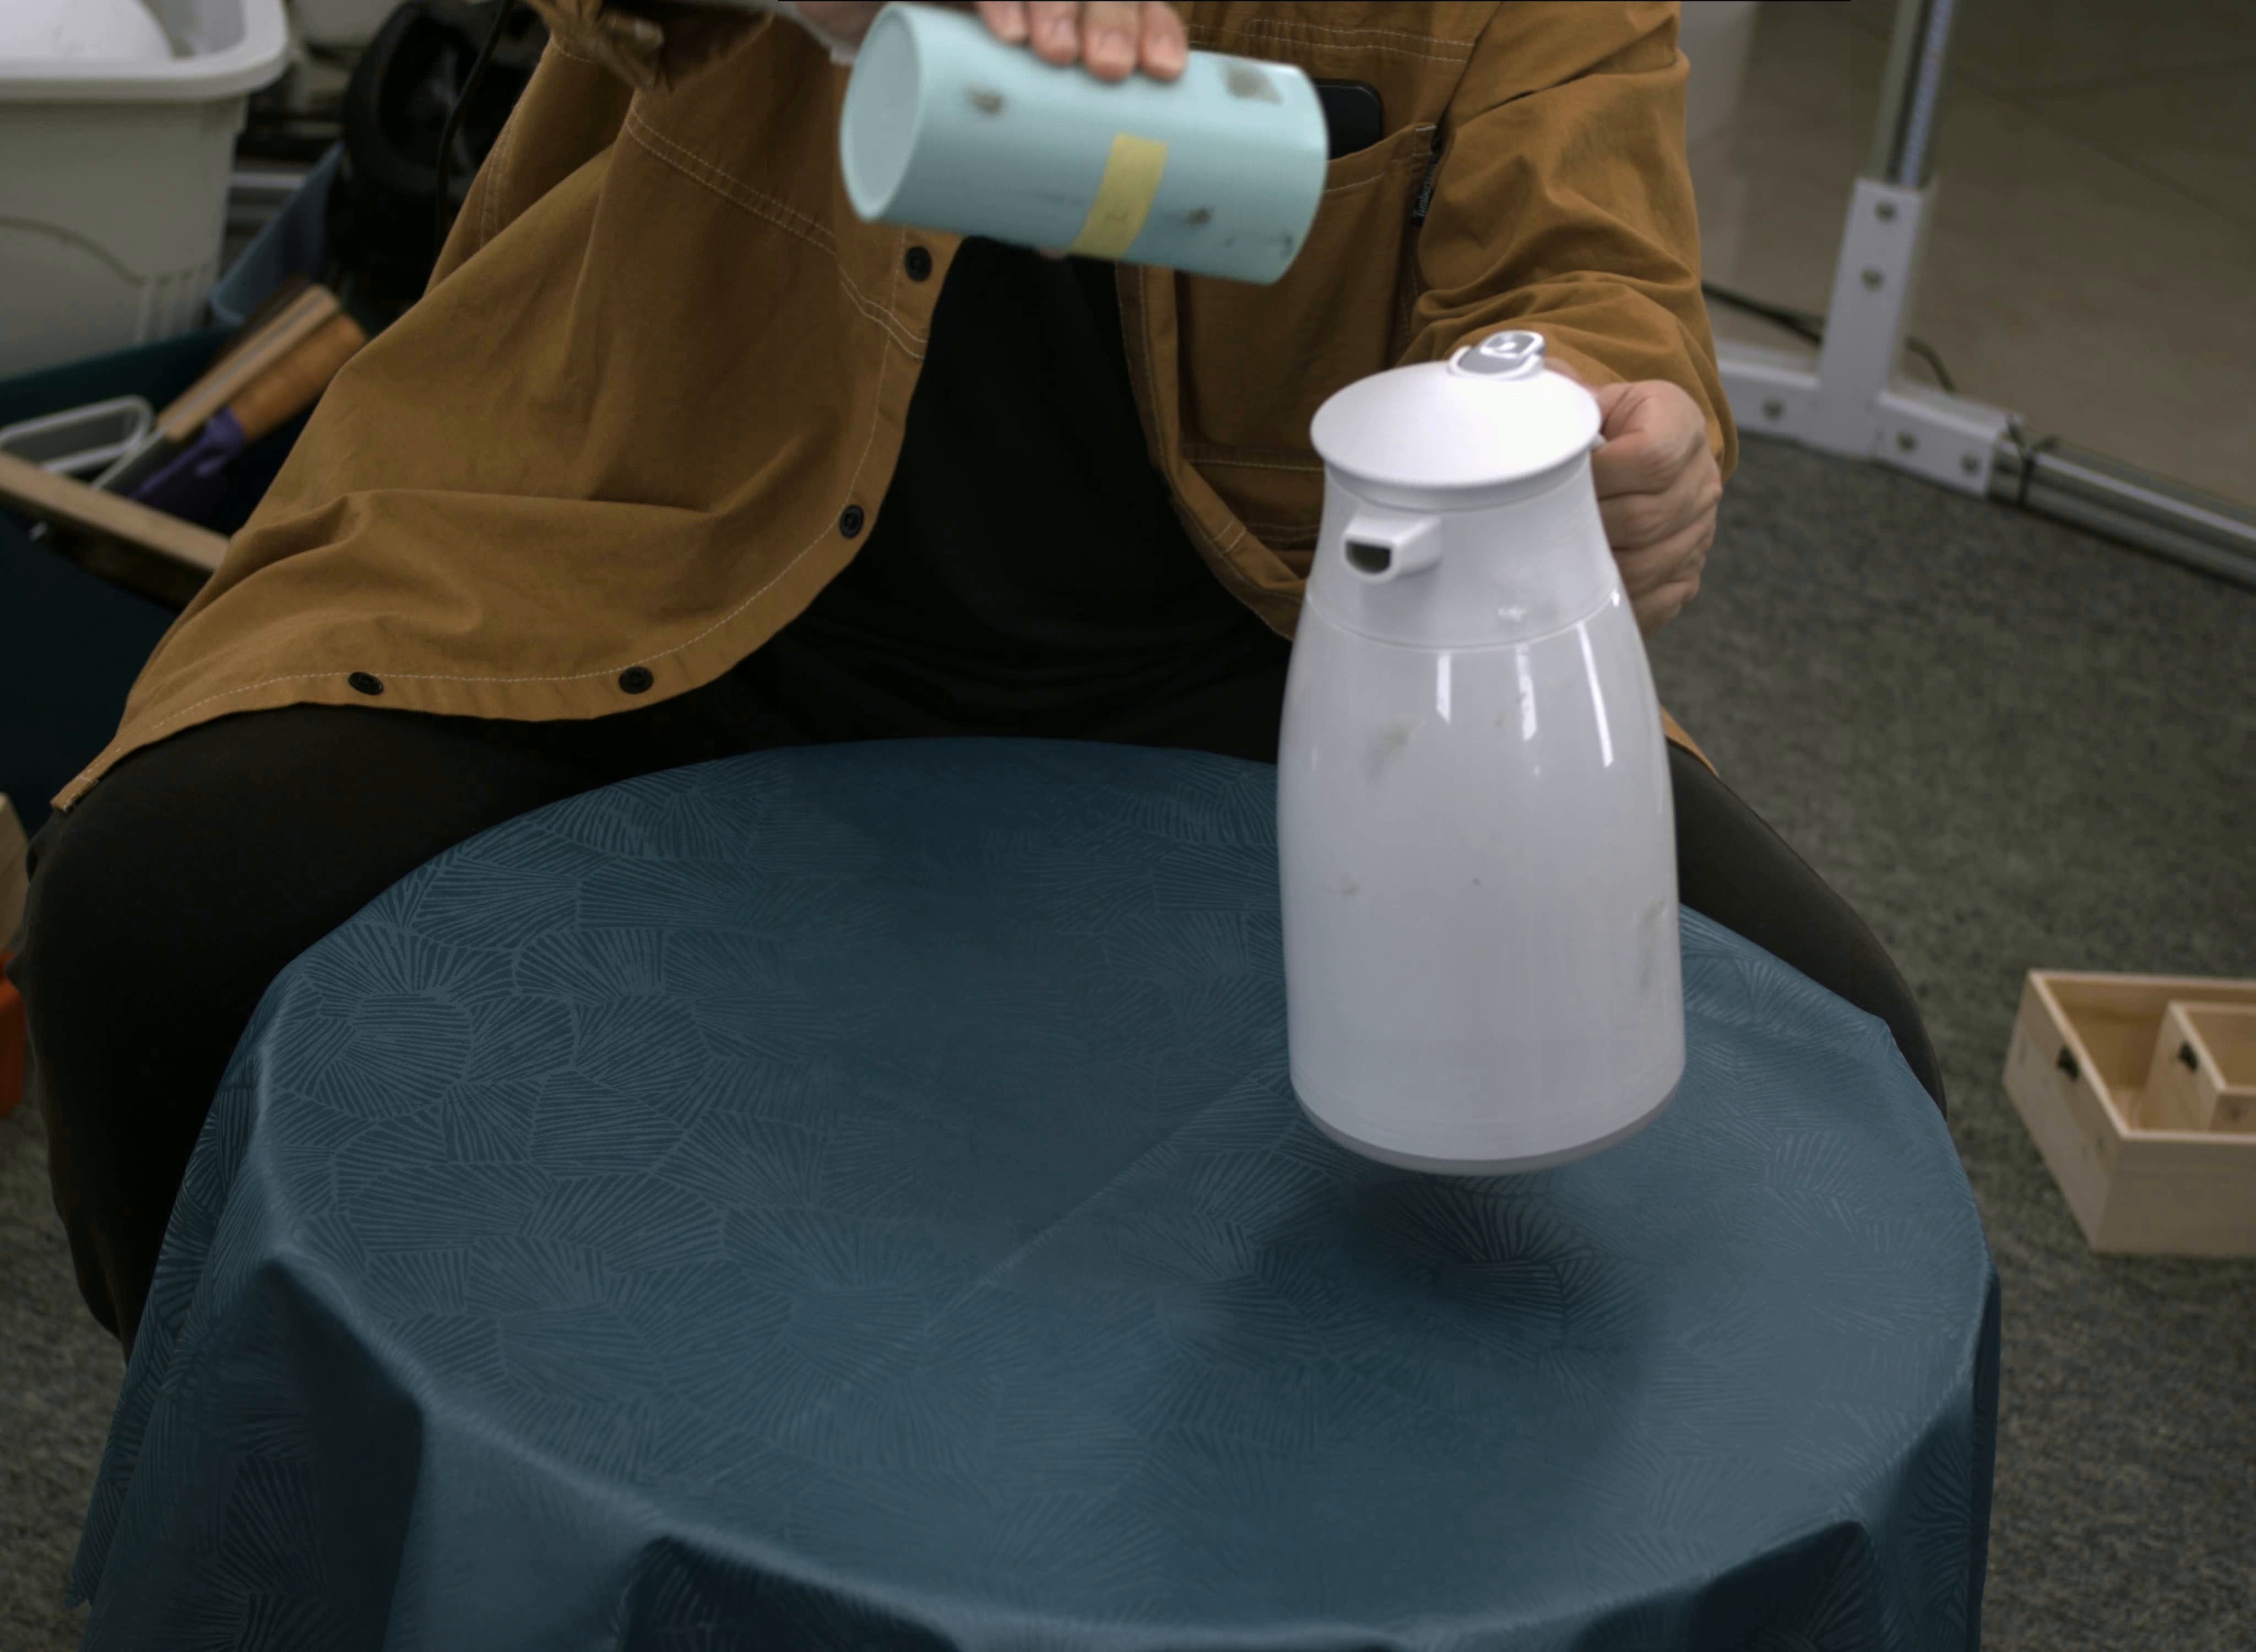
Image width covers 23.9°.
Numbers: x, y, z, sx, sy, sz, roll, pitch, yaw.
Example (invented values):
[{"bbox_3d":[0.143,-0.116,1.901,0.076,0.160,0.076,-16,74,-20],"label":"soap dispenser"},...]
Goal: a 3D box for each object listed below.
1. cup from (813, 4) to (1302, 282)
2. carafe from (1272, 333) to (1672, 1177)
[{"bbox_3d":[-0.021,-0.203,1.580,0.131,0.066,0.067,5,25,-23],"label":"cup"},{"bbox_3d":[0.119,-0.034,1.736,0.133,0.247,0.167,13,31,27],"label":"carafe"}]
